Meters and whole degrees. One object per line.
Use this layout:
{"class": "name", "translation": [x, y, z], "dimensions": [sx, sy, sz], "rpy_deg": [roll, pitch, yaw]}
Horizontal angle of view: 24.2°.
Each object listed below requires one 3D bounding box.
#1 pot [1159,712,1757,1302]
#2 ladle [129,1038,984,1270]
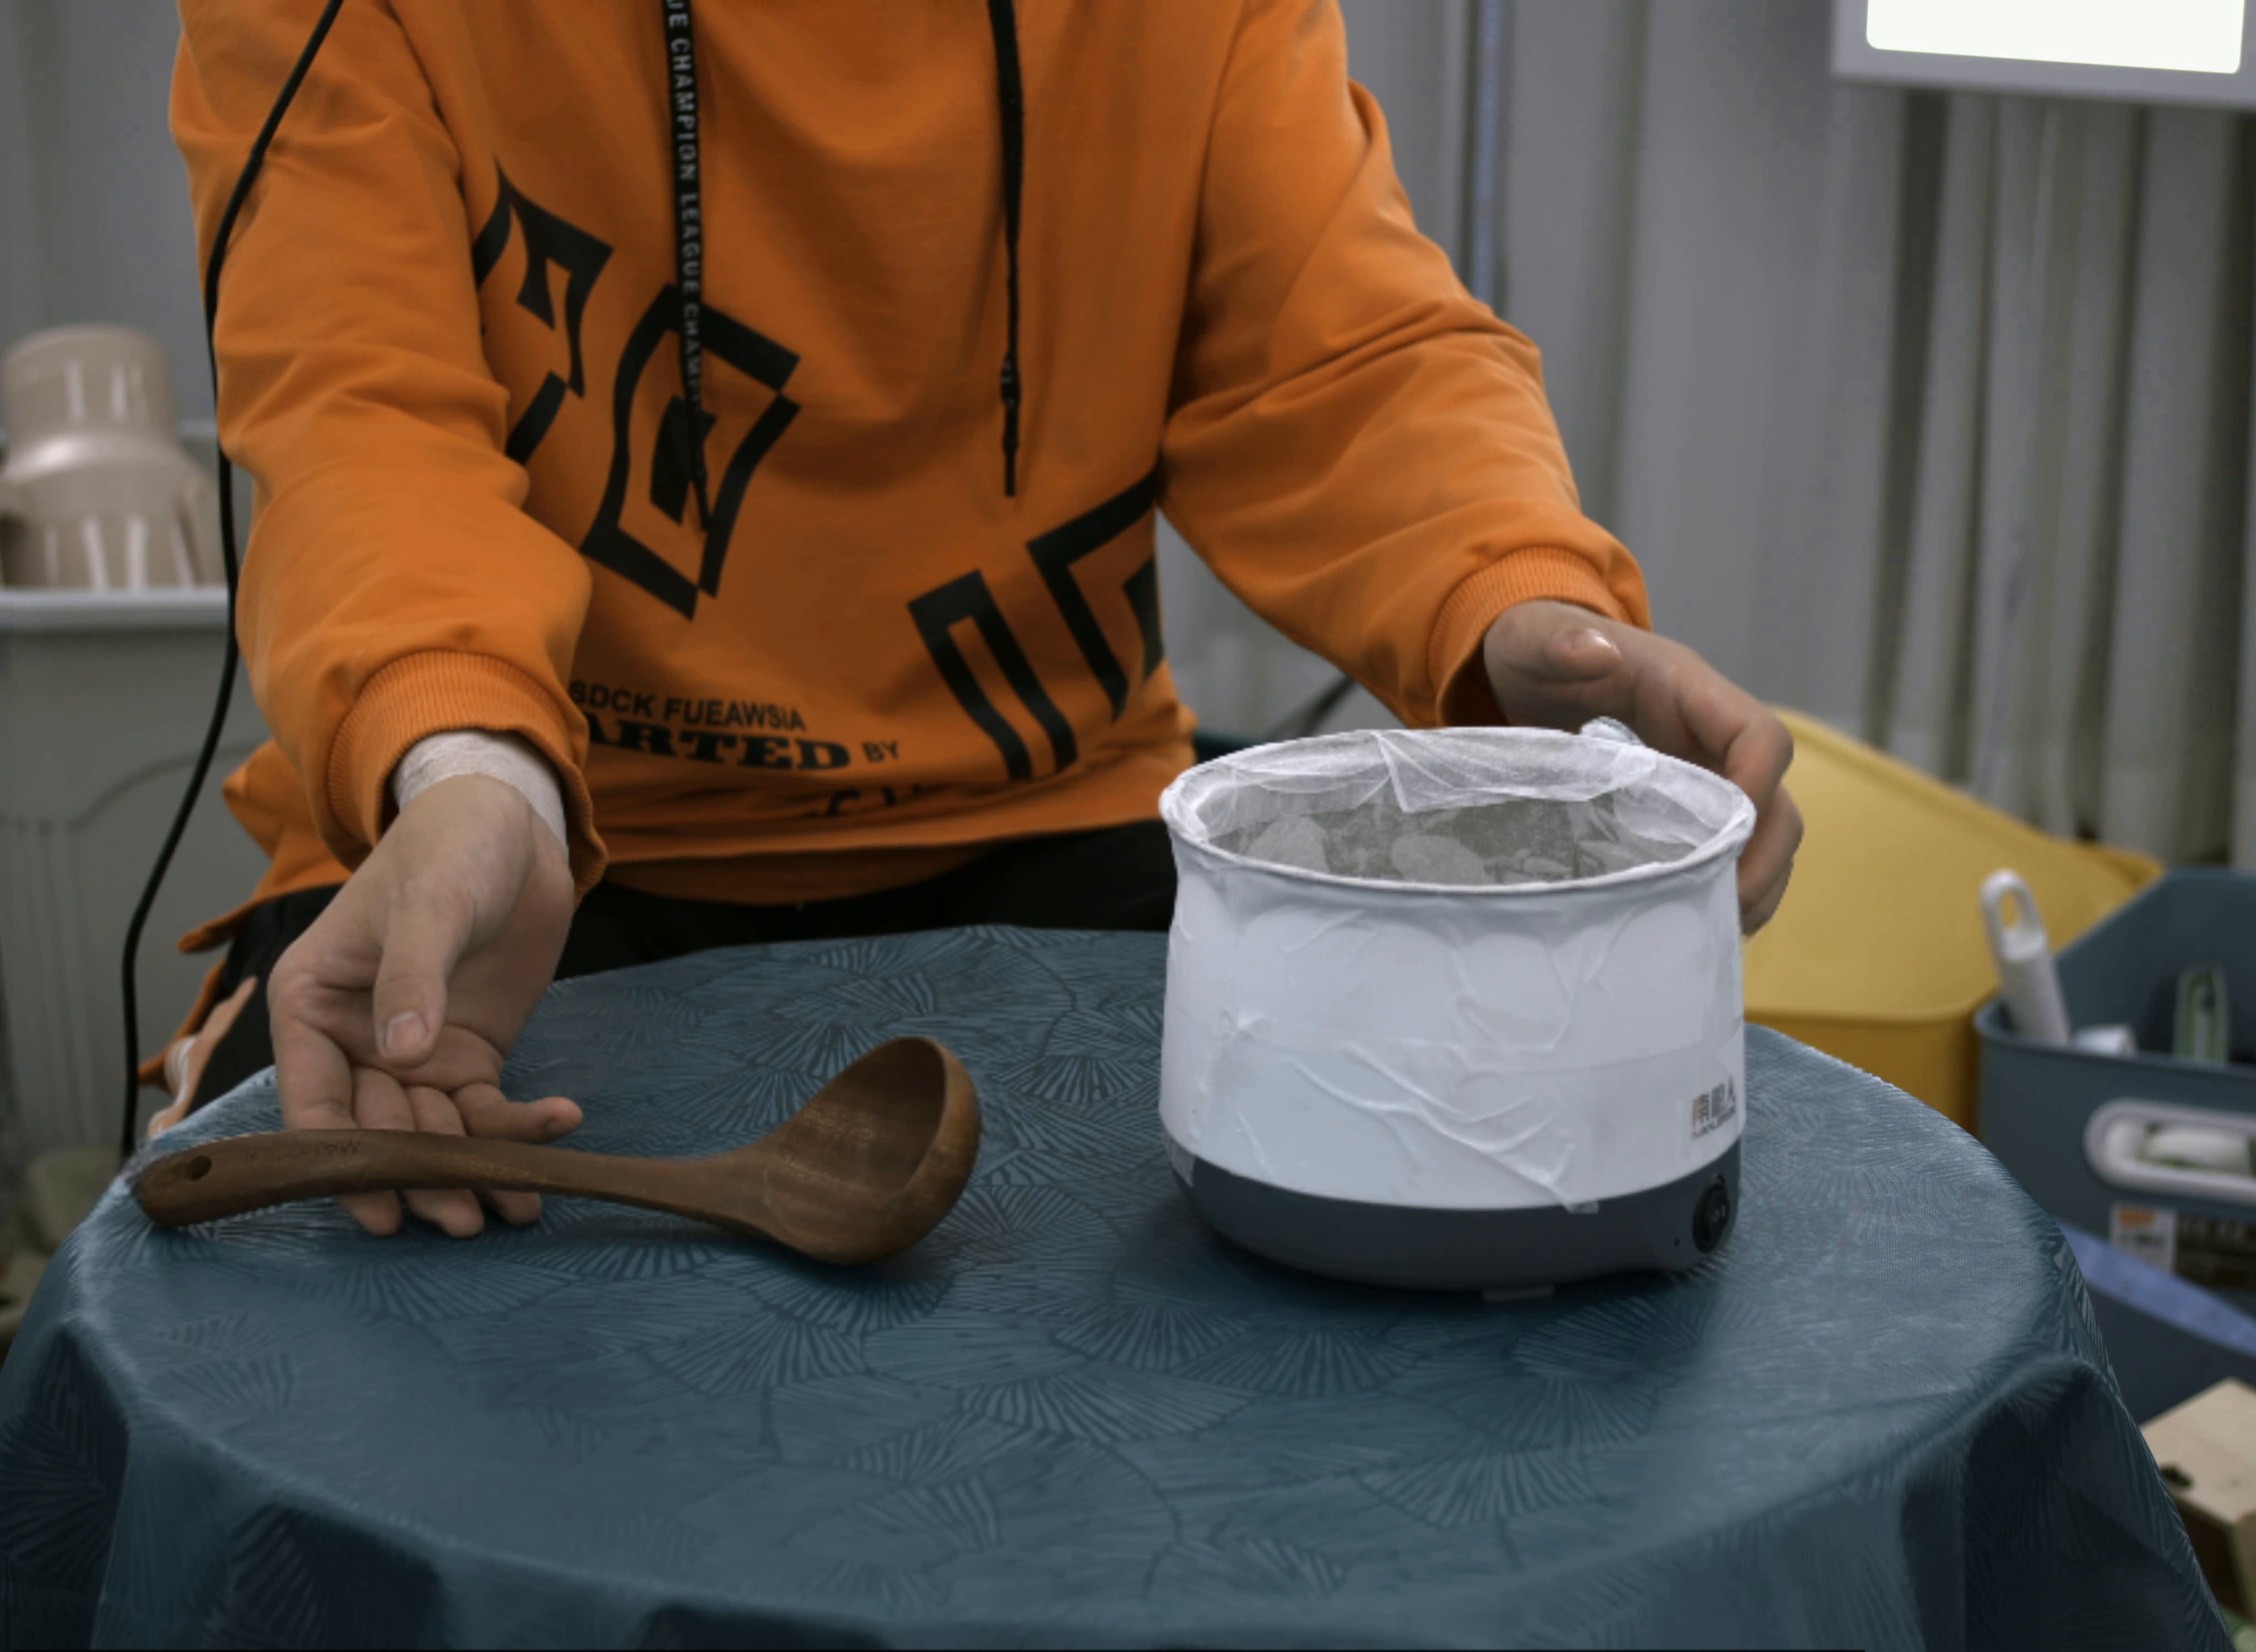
{"class": "pot", "translation": [0.111, 0.047, 1.601], "dimensions": [0.176, 0.138, 0.234], "rpy_deg": [10, 19, 28]}
{"class": "ladle", "translation": [-0.172, 0.096, 1.564], "dimensions": [0.259, 0.066, 0.076], "rpy_deg": [2, 42, 2]}
